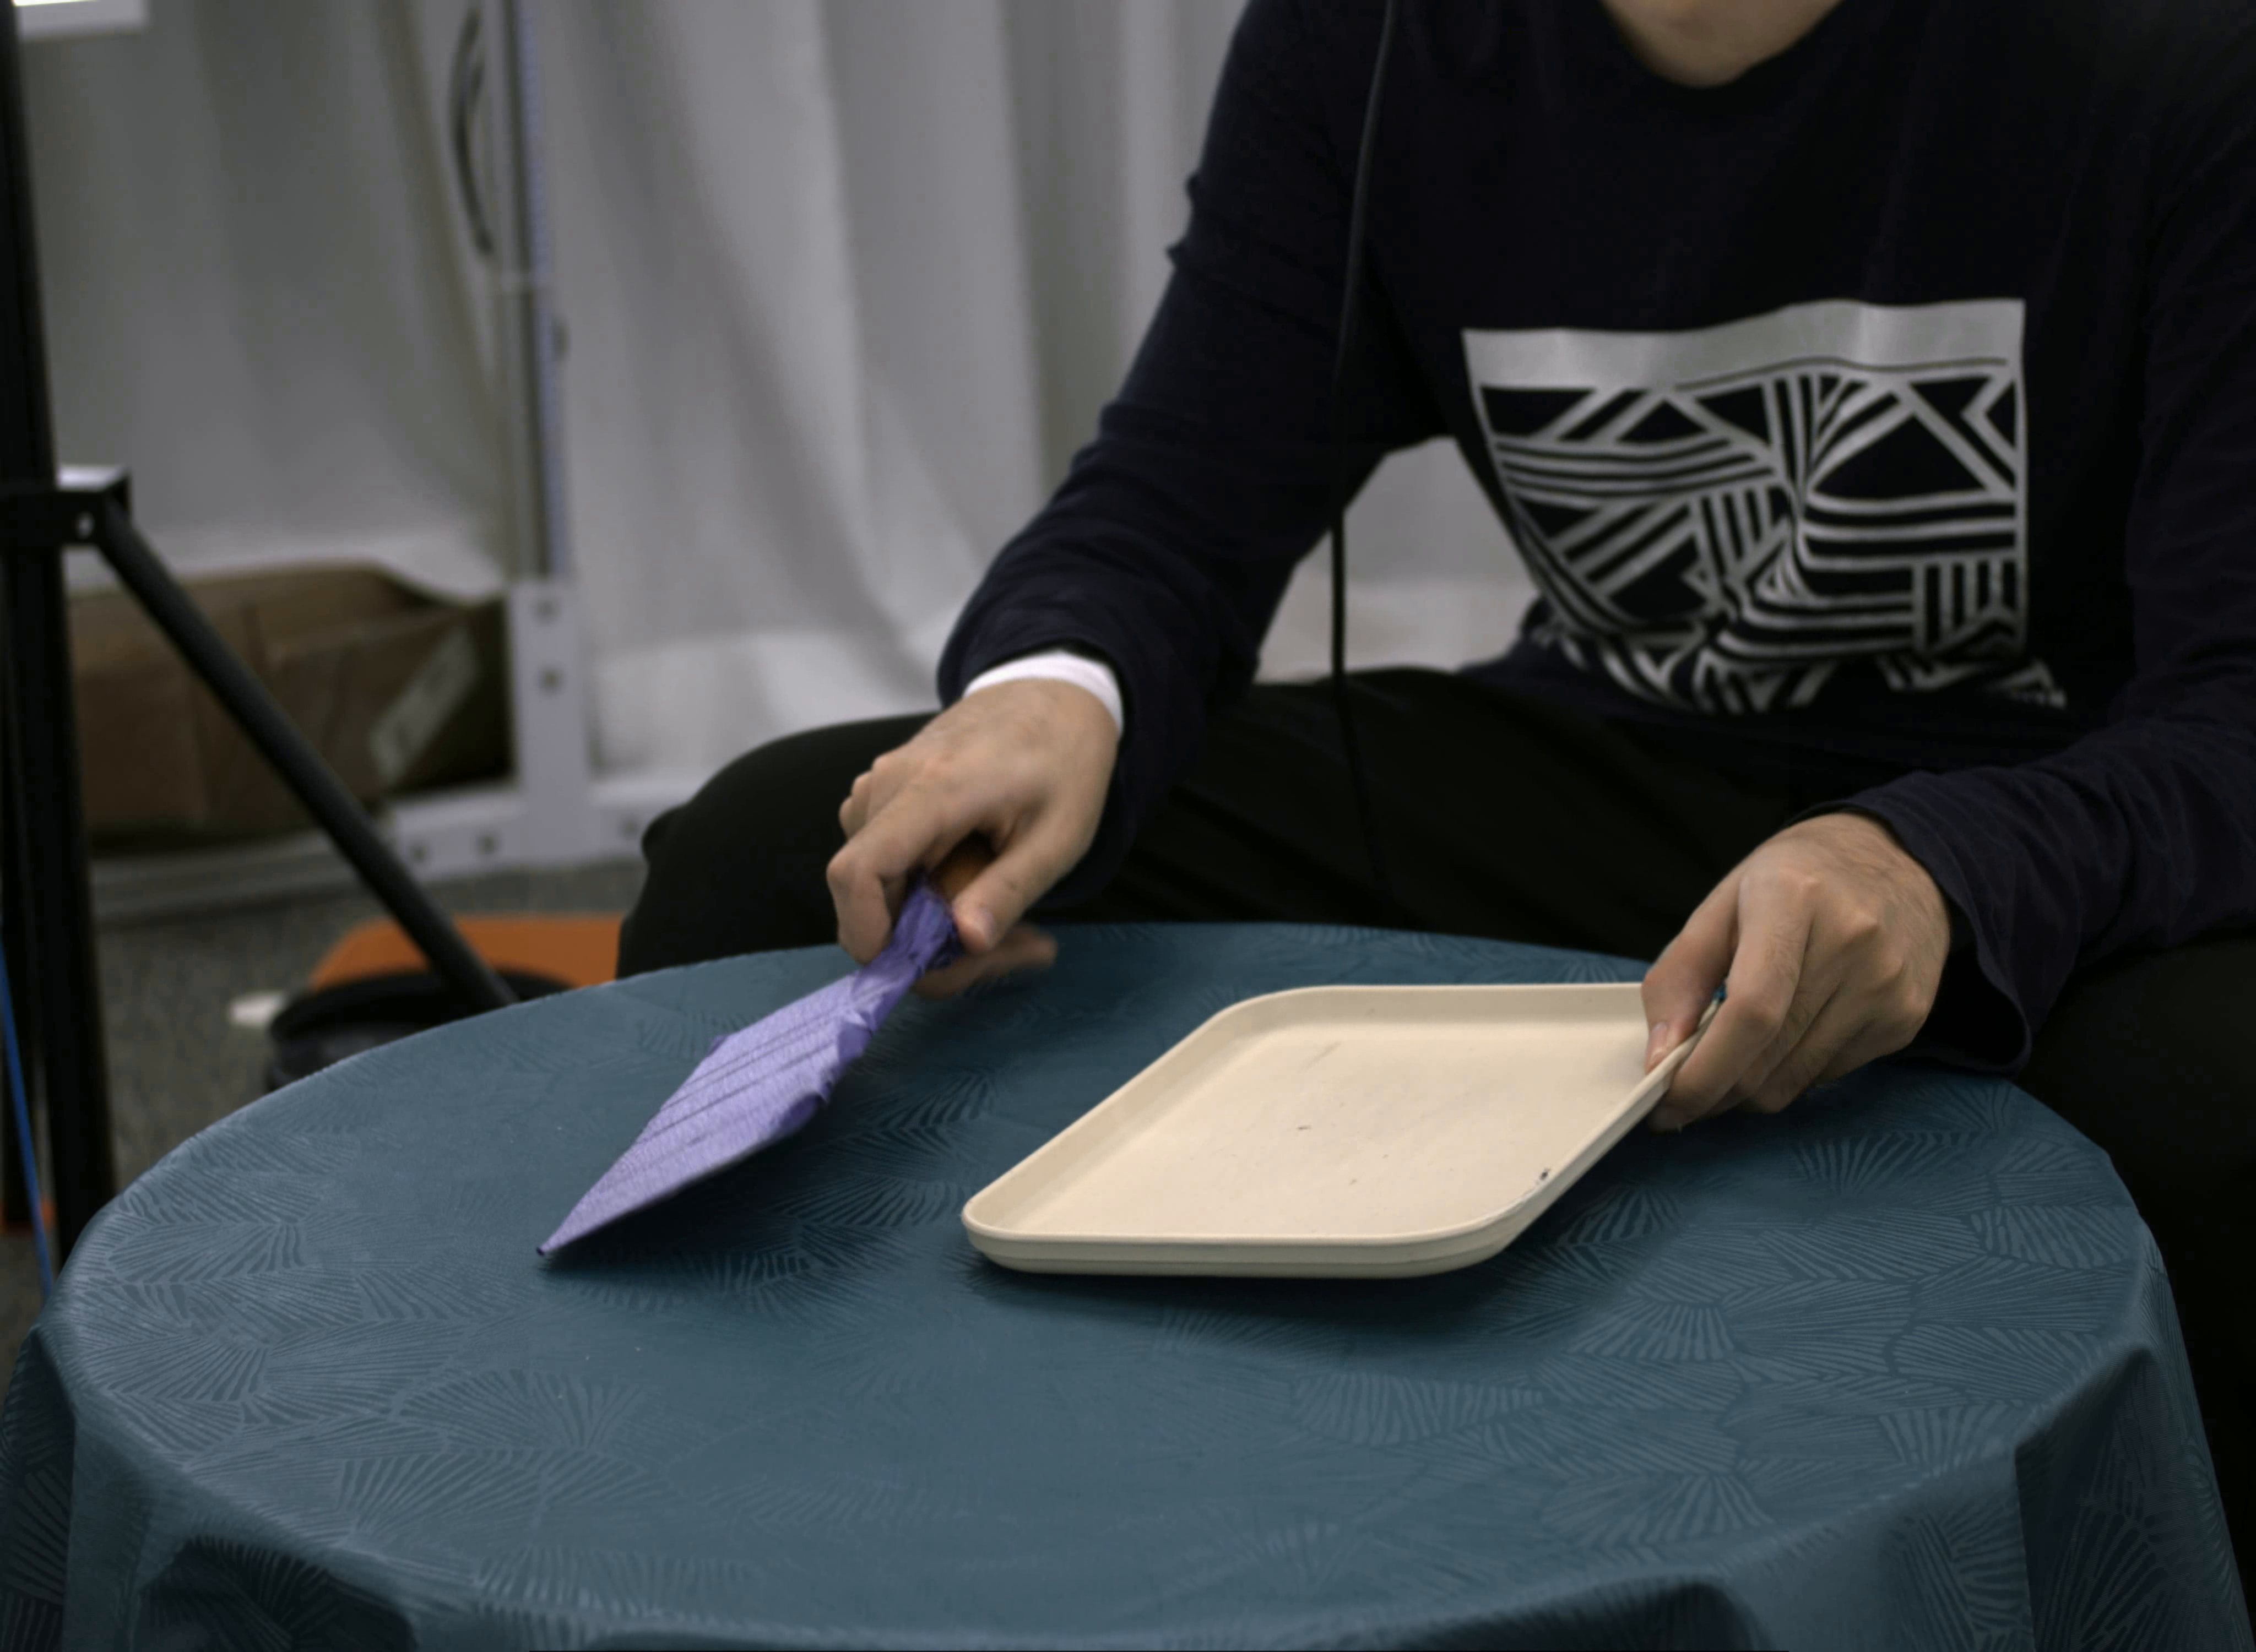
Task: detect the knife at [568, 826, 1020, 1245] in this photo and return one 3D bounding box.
[{"bbox_3d":[-0.103,0.061,1.648,0.104,0.032,0.313,-24,8,15],"label":"knife"}]

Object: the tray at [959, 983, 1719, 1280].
[{"bbox_3d":[0.067,0.089,1.558,0.174,0.017,0.236,-2,15,26],"label":"tray"}]
